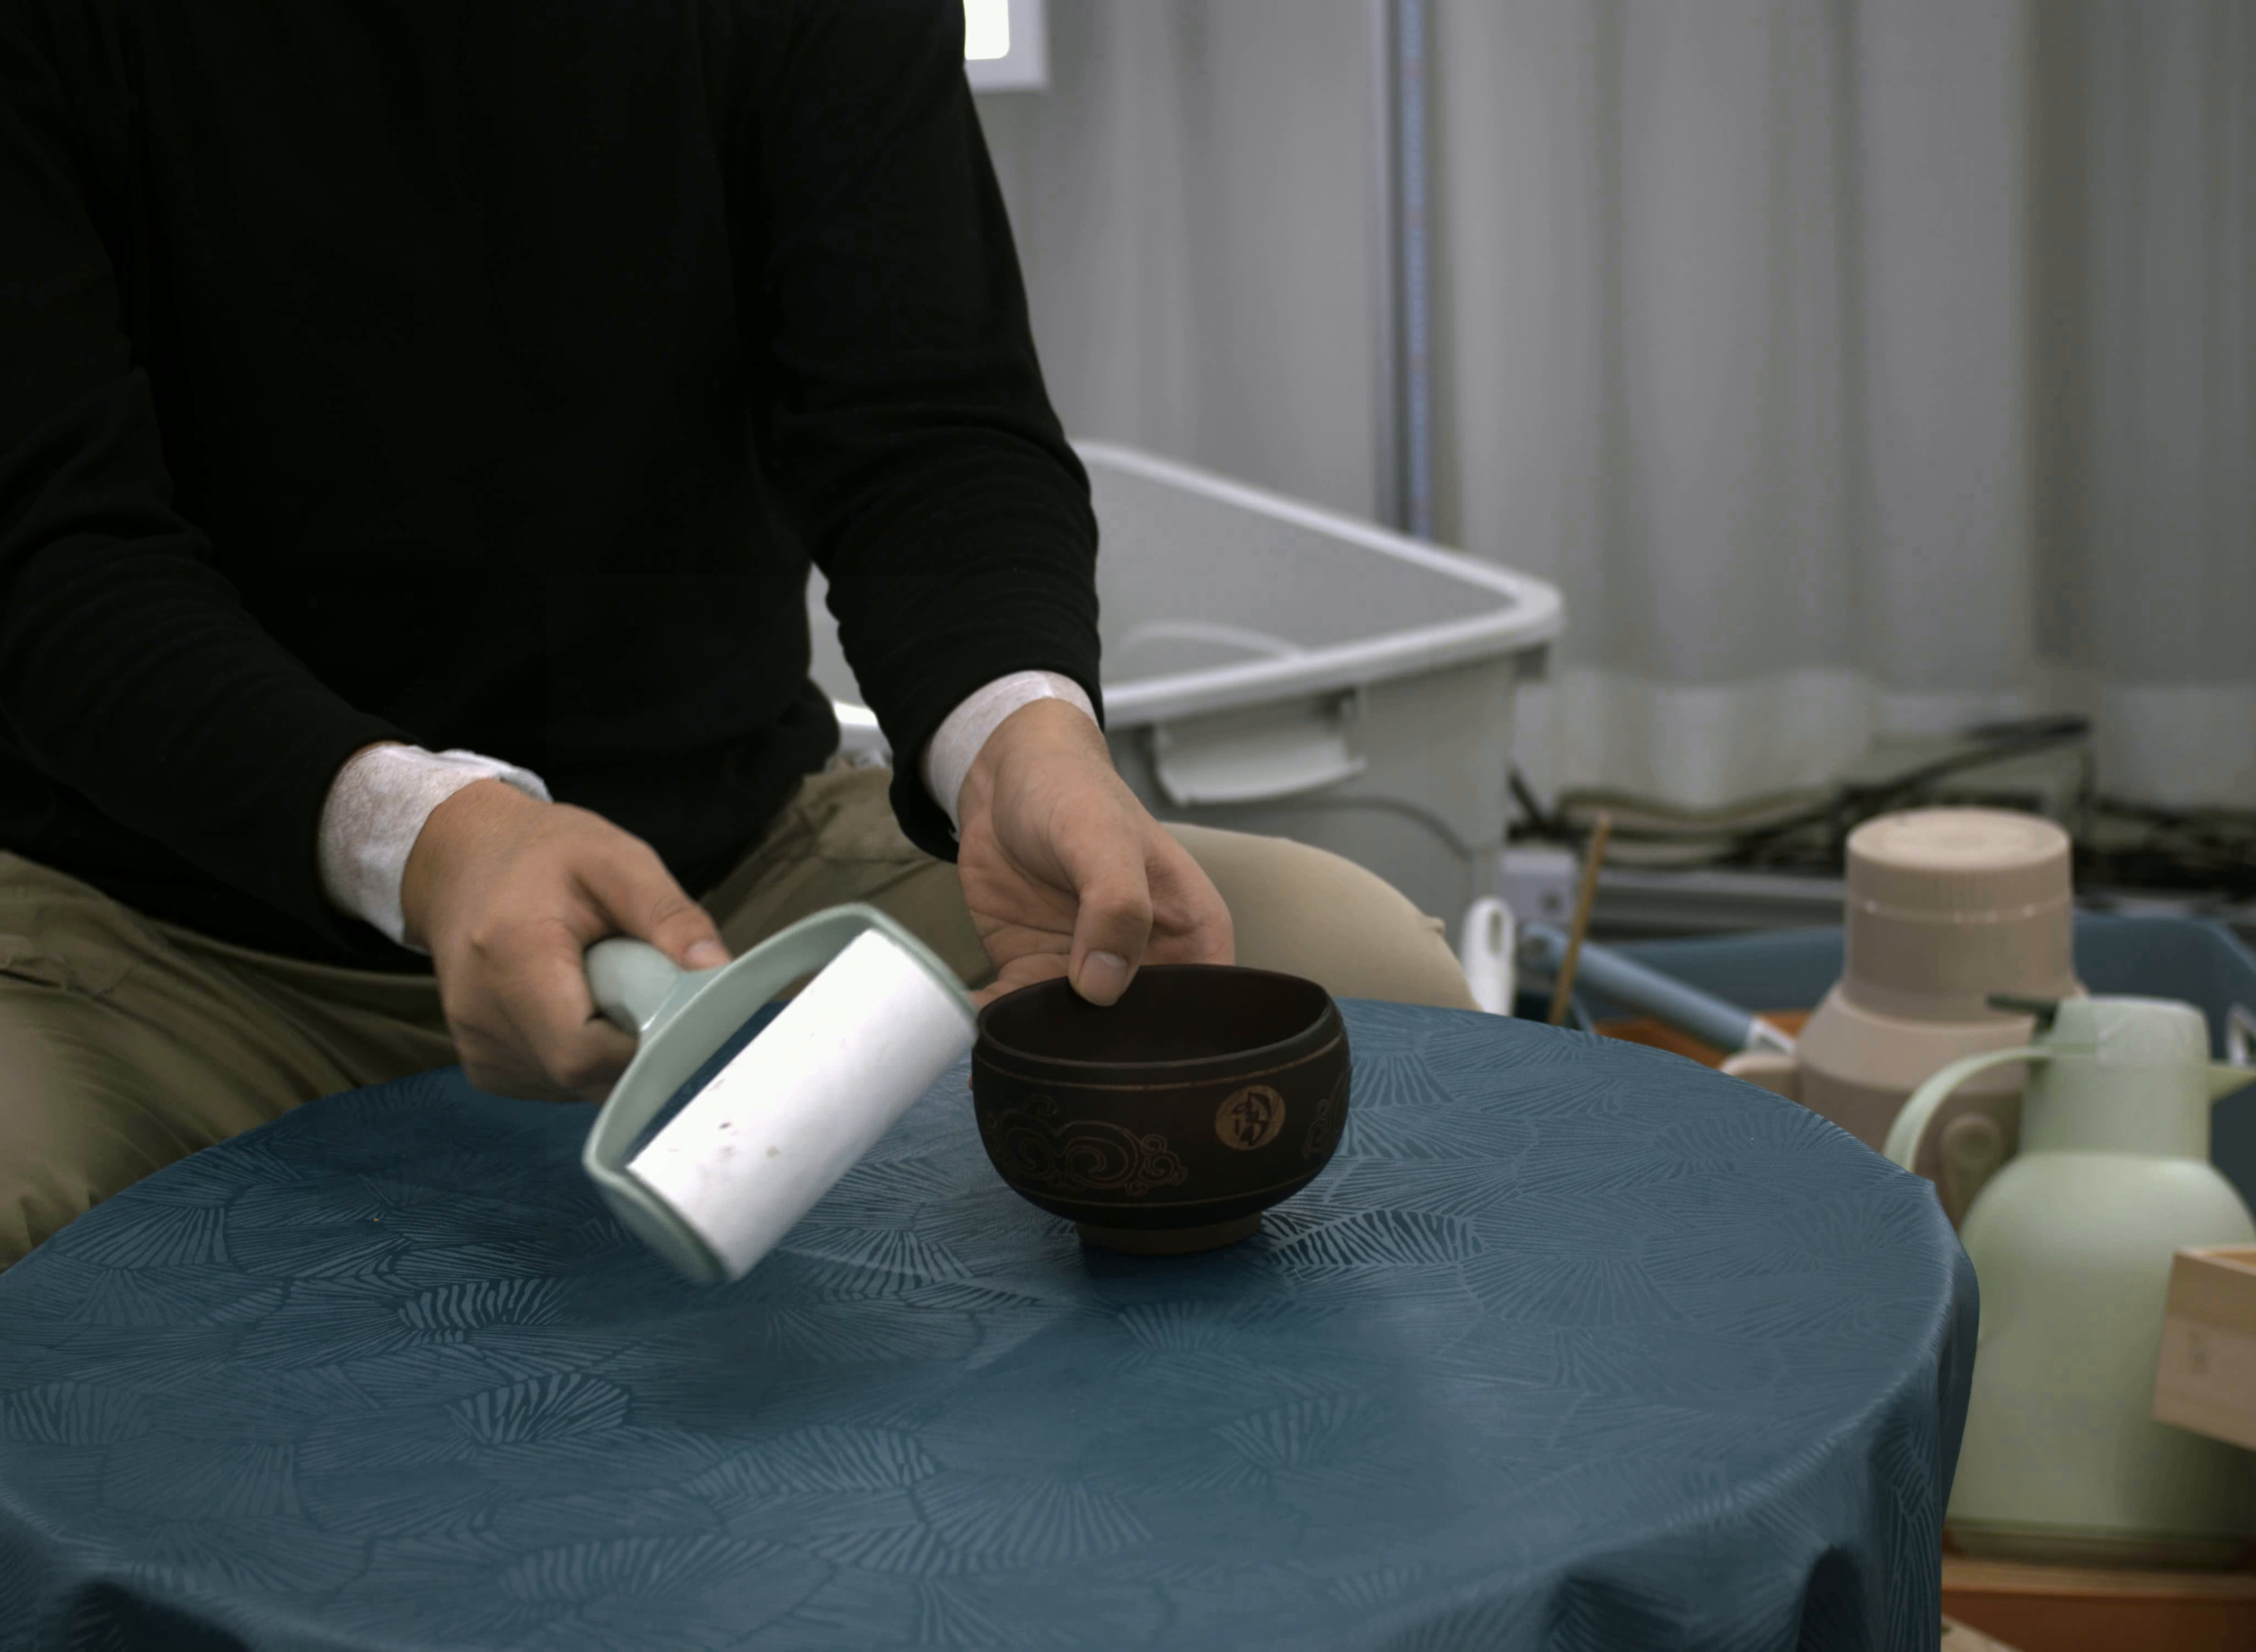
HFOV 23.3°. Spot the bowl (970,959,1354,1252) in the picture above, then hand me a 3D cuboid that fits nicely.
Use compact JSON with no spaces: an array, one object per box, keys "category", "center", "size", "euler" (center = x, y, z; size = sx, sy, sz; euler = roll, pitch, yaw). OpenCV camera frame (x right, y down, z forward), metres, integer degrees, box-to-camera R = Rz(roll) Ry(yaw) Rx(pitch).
[{"category":"bowl","center":[0.011,0.089,1.669],"size":[0.117,0.069,0.119],"euler":[-4,13,1]}]

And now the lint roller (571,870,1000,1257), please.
[{"category":"lint roller","center":[-0.123,0.054,1.634],"size":[0.117,0.048,0.199],"euler":[-48,32,-12]}]
